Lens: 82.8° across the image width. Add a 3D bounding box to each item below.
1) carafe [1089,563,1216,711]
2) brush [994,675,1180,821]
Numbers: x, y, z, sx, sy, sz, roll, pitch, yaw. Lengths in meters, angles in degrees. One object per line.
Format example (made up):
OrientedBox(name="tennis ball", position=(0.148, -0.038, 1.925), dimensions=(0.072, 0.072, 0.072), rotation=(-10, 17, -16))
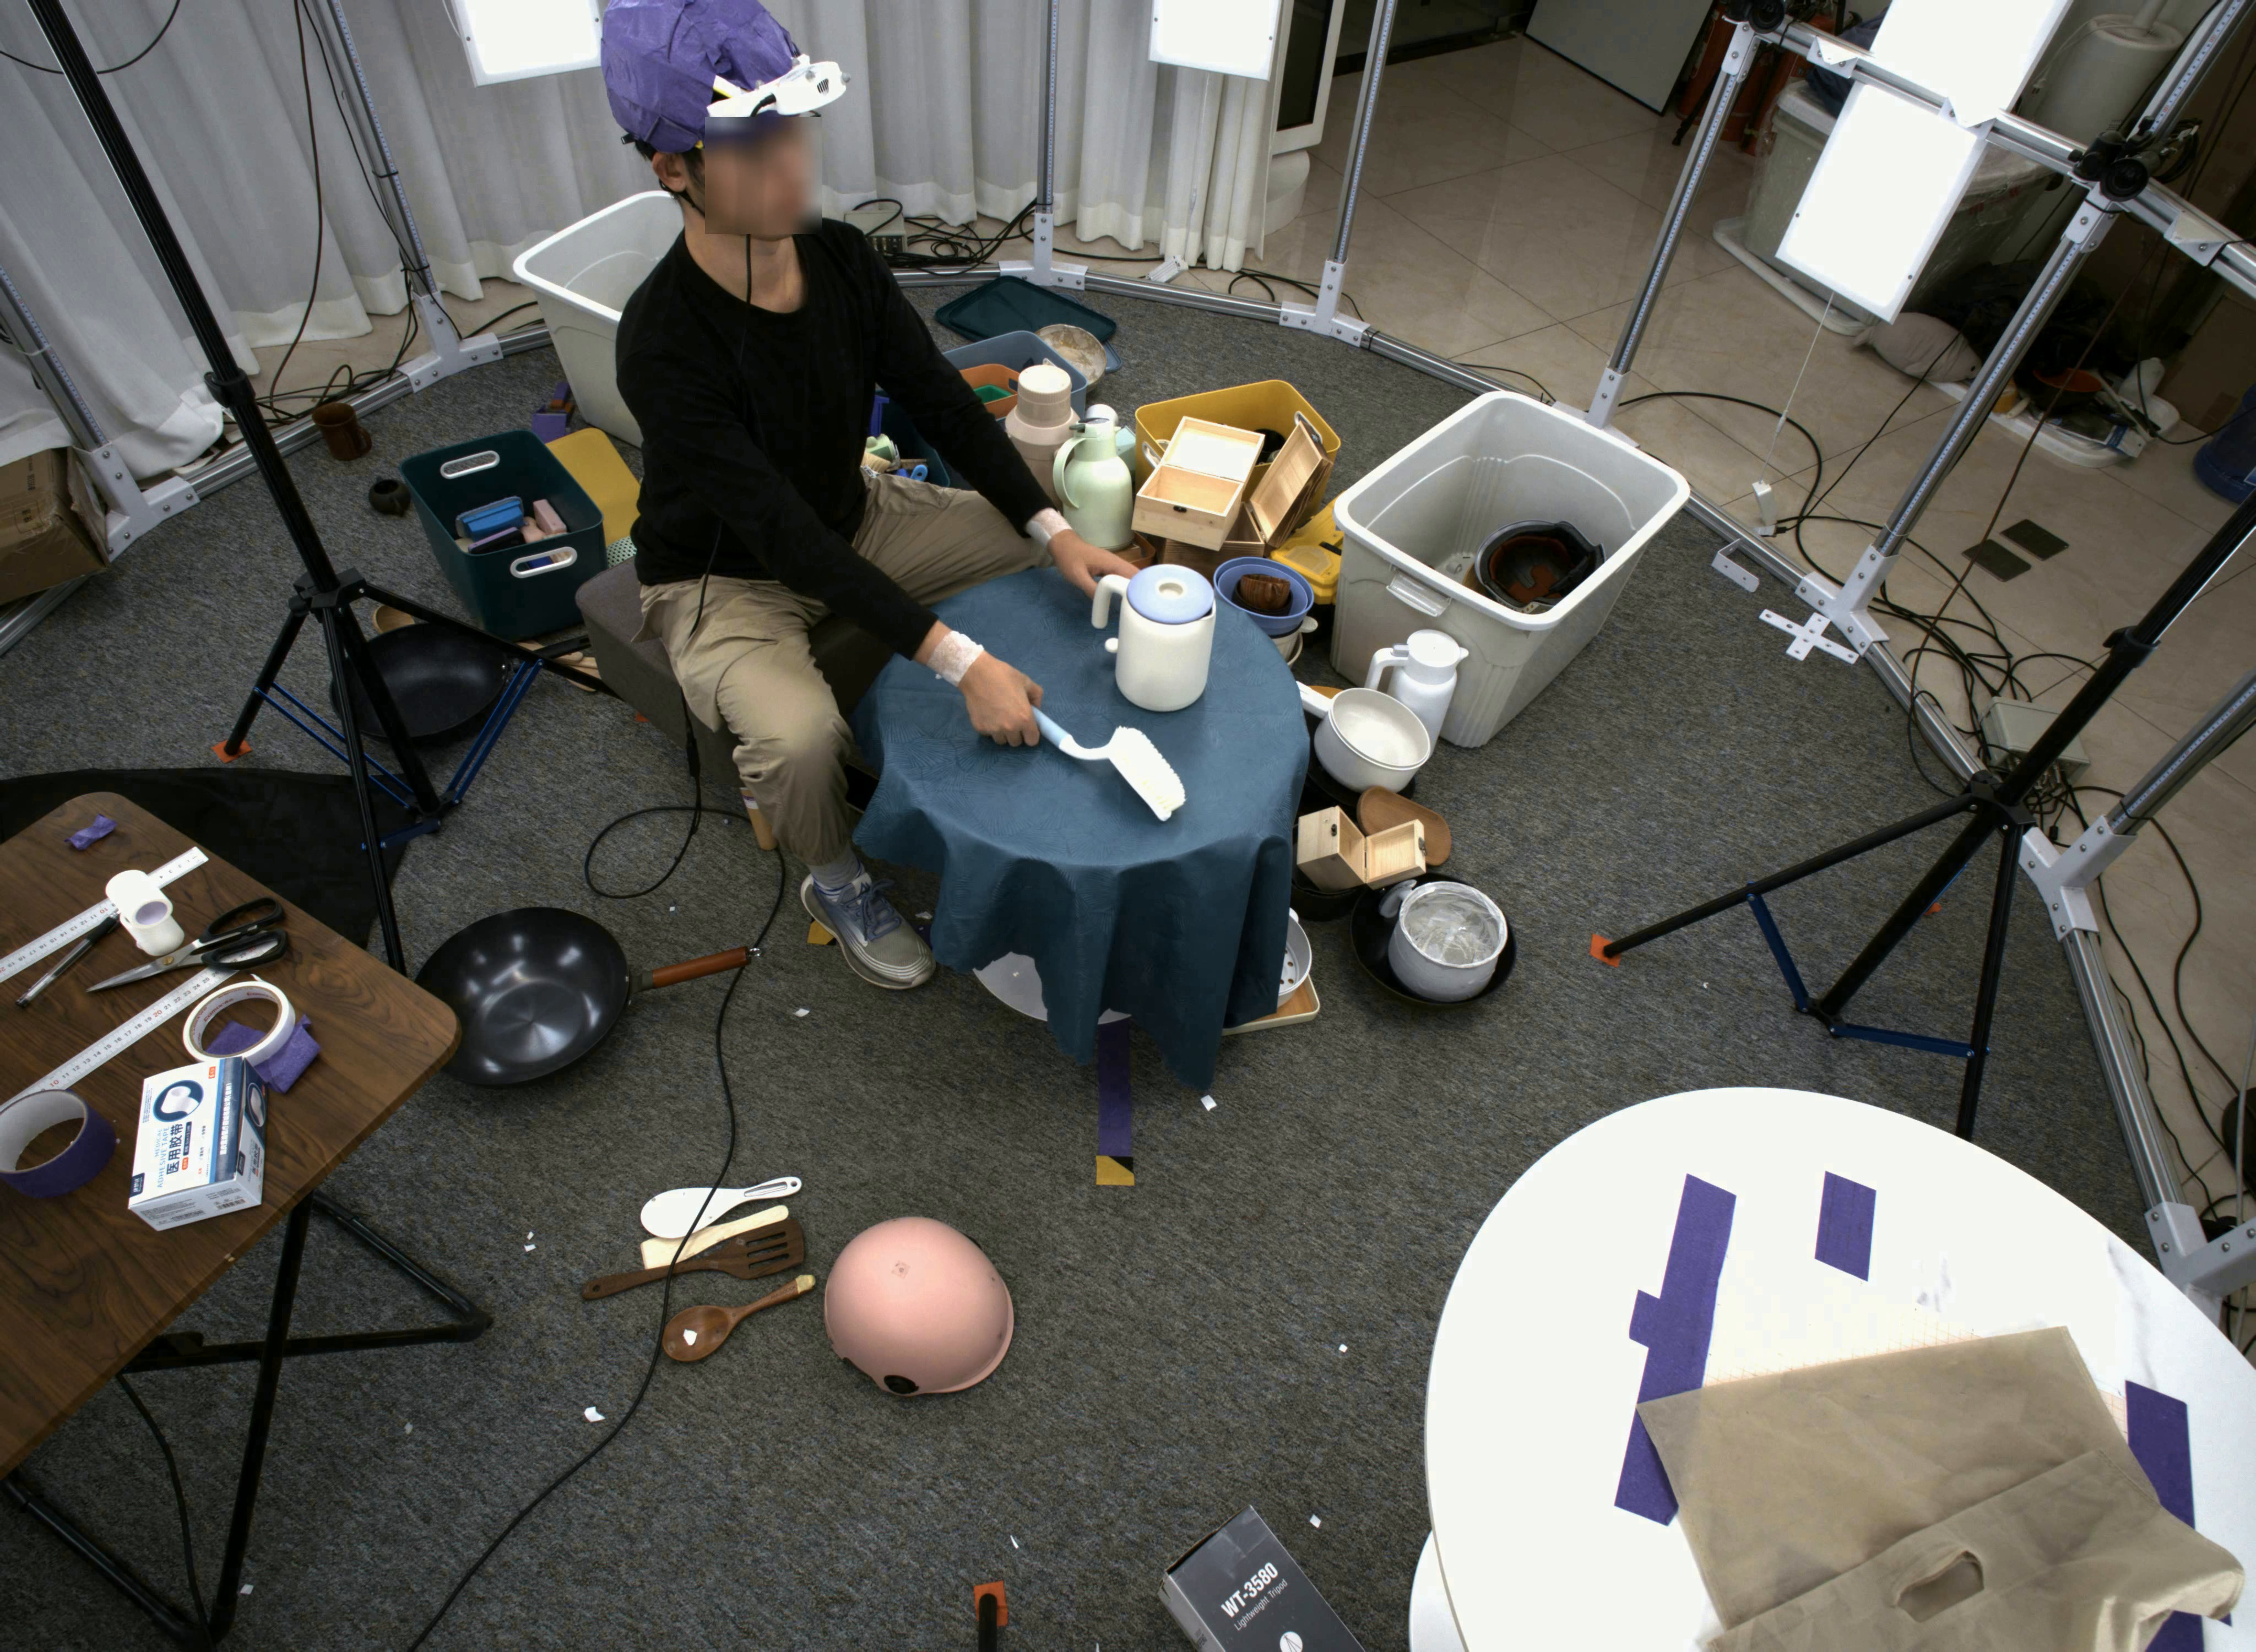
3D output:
OrientedBox(name="carafe", position=(0.030, -0.273, 1.798), dimensions=(0.193, 0.178, 0.134), rotation=(26, 52, 18))
OrientedBox(name="brush", position=(-0.052, -0.132, 1.718), dimensions=(0.330, 0.081, 0.085), rotation=(40, 69, 22))
